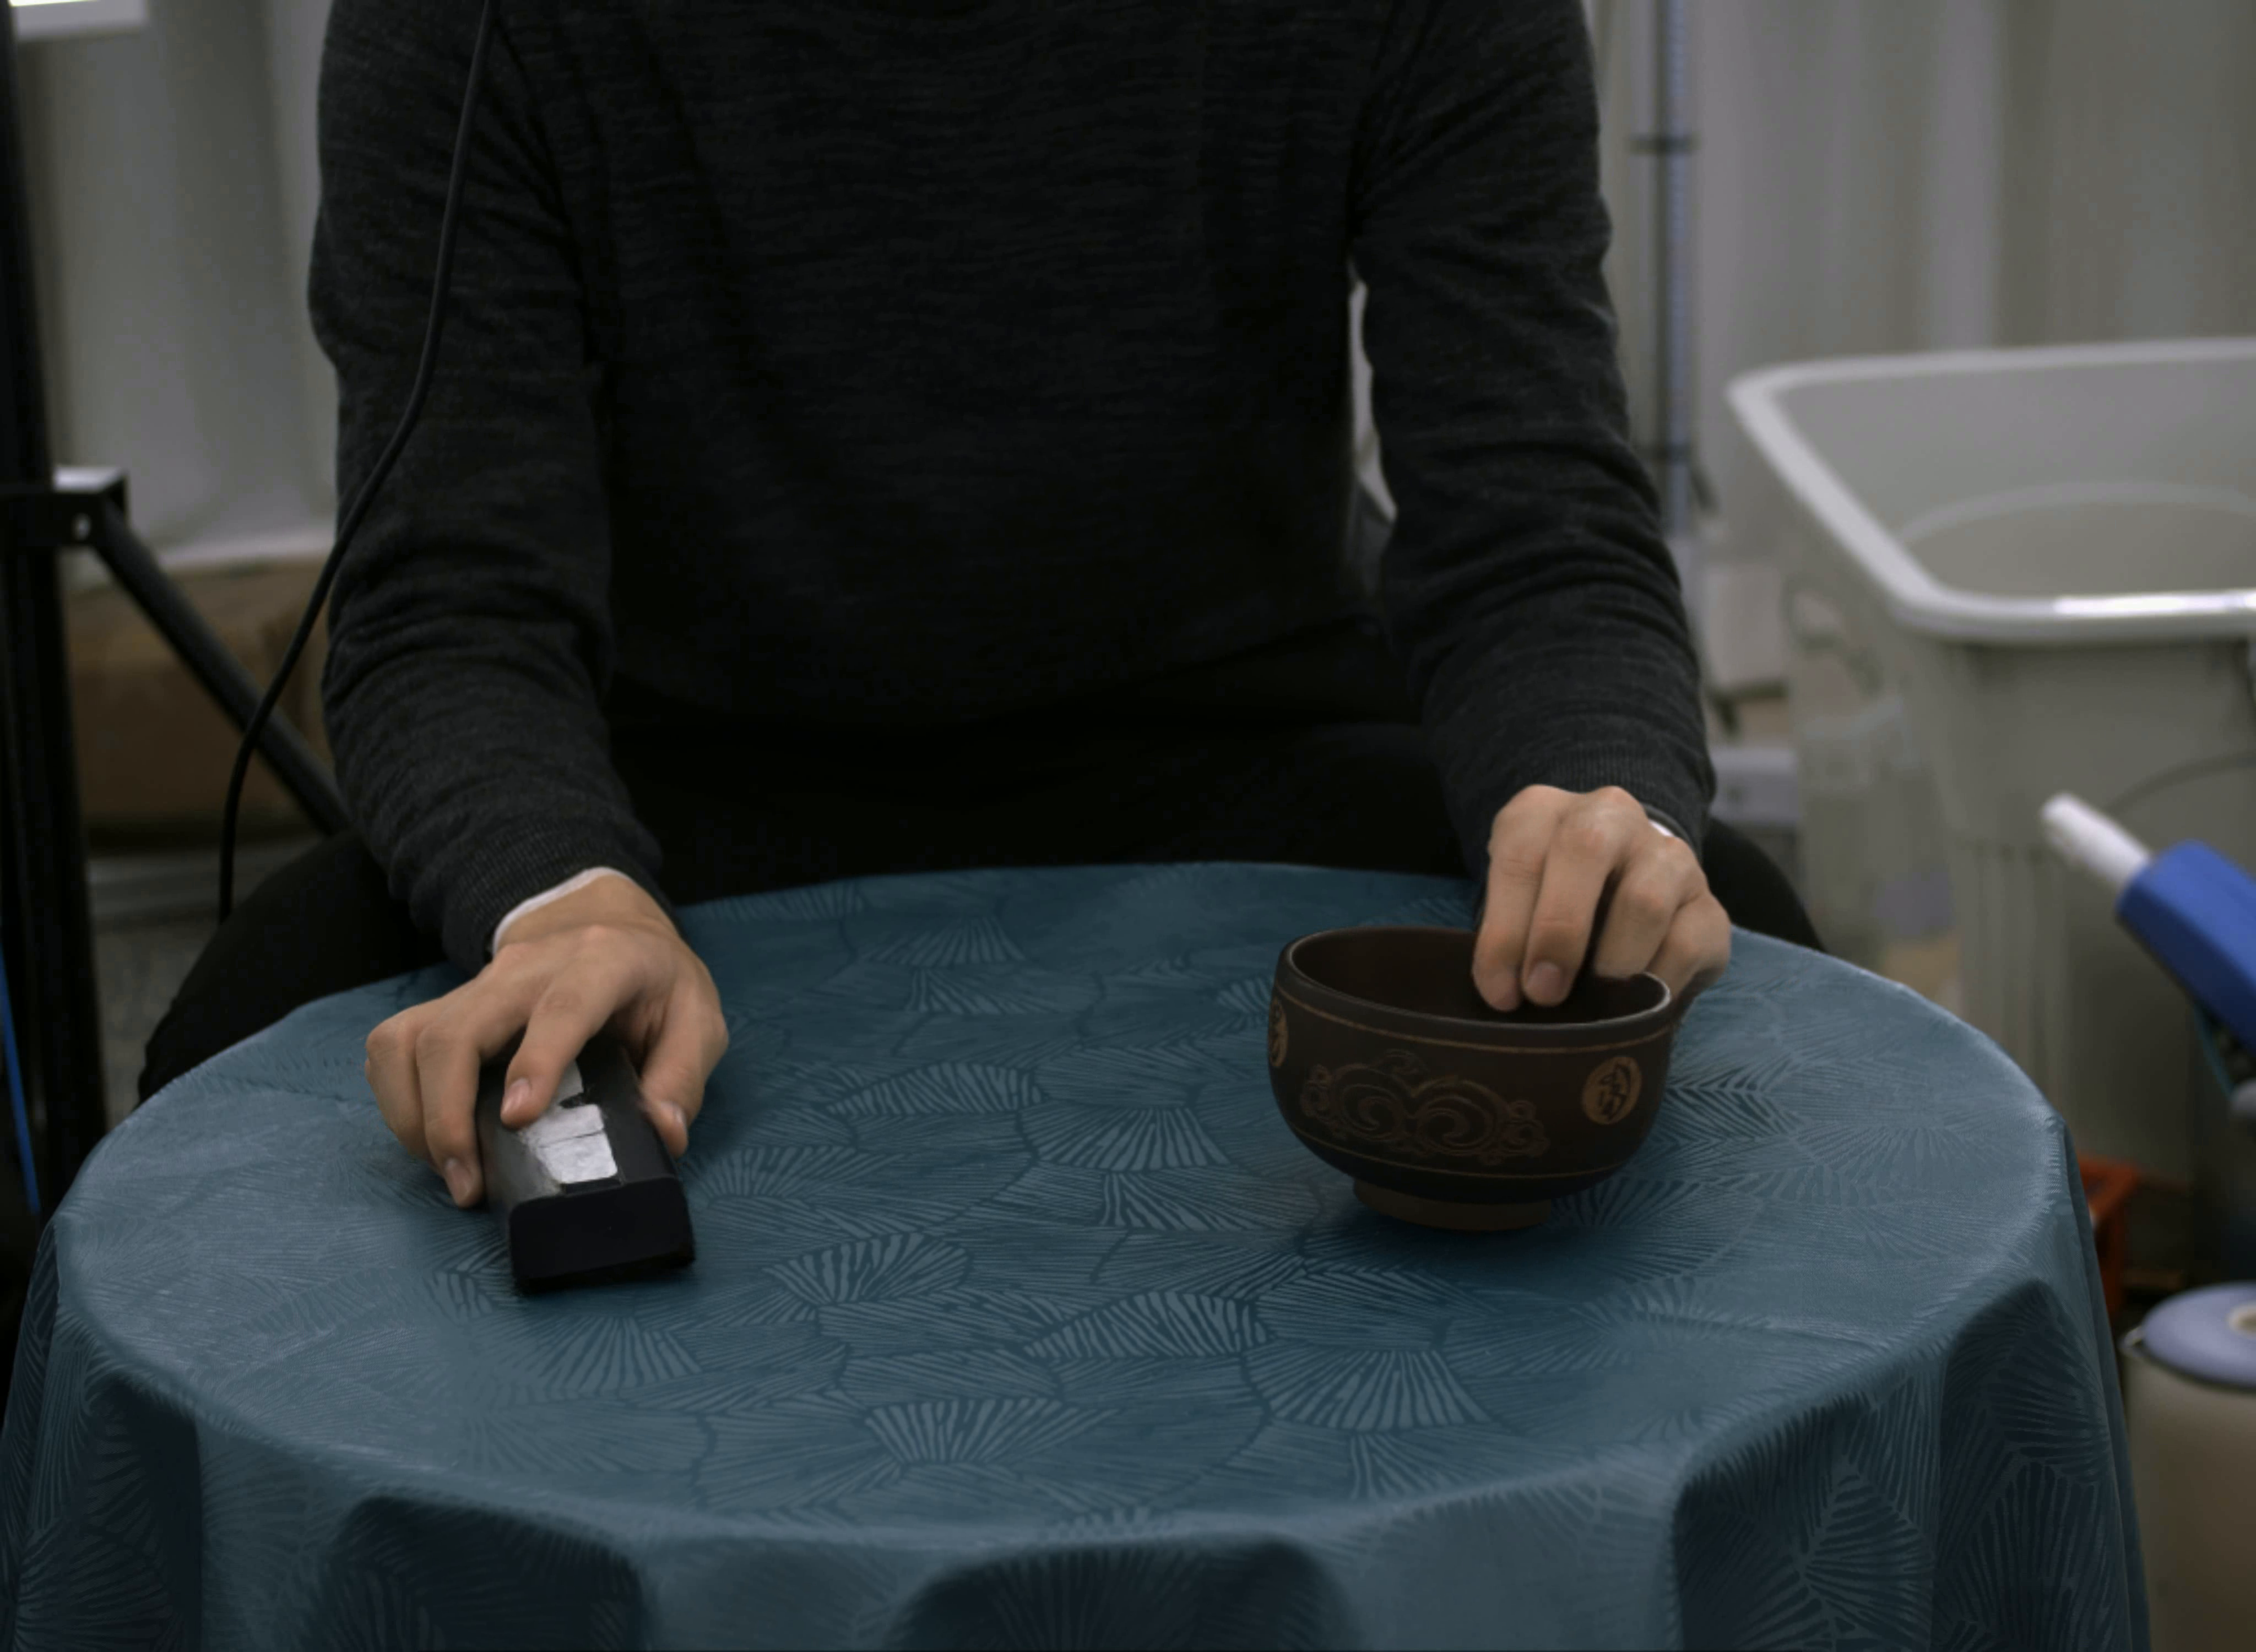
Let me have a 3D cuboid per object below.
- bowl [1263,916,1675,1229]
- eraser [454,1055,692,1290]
[{"bbox_3d":[0.096,0.074,1.517,0.117,0.070,0.118,4,13,-2],"label":"bowl"},{"bbox_3d":[-0.162,0.100,1.555,0.053,0.030,0.127,-6,17,-12],"label":"eraser"}]
